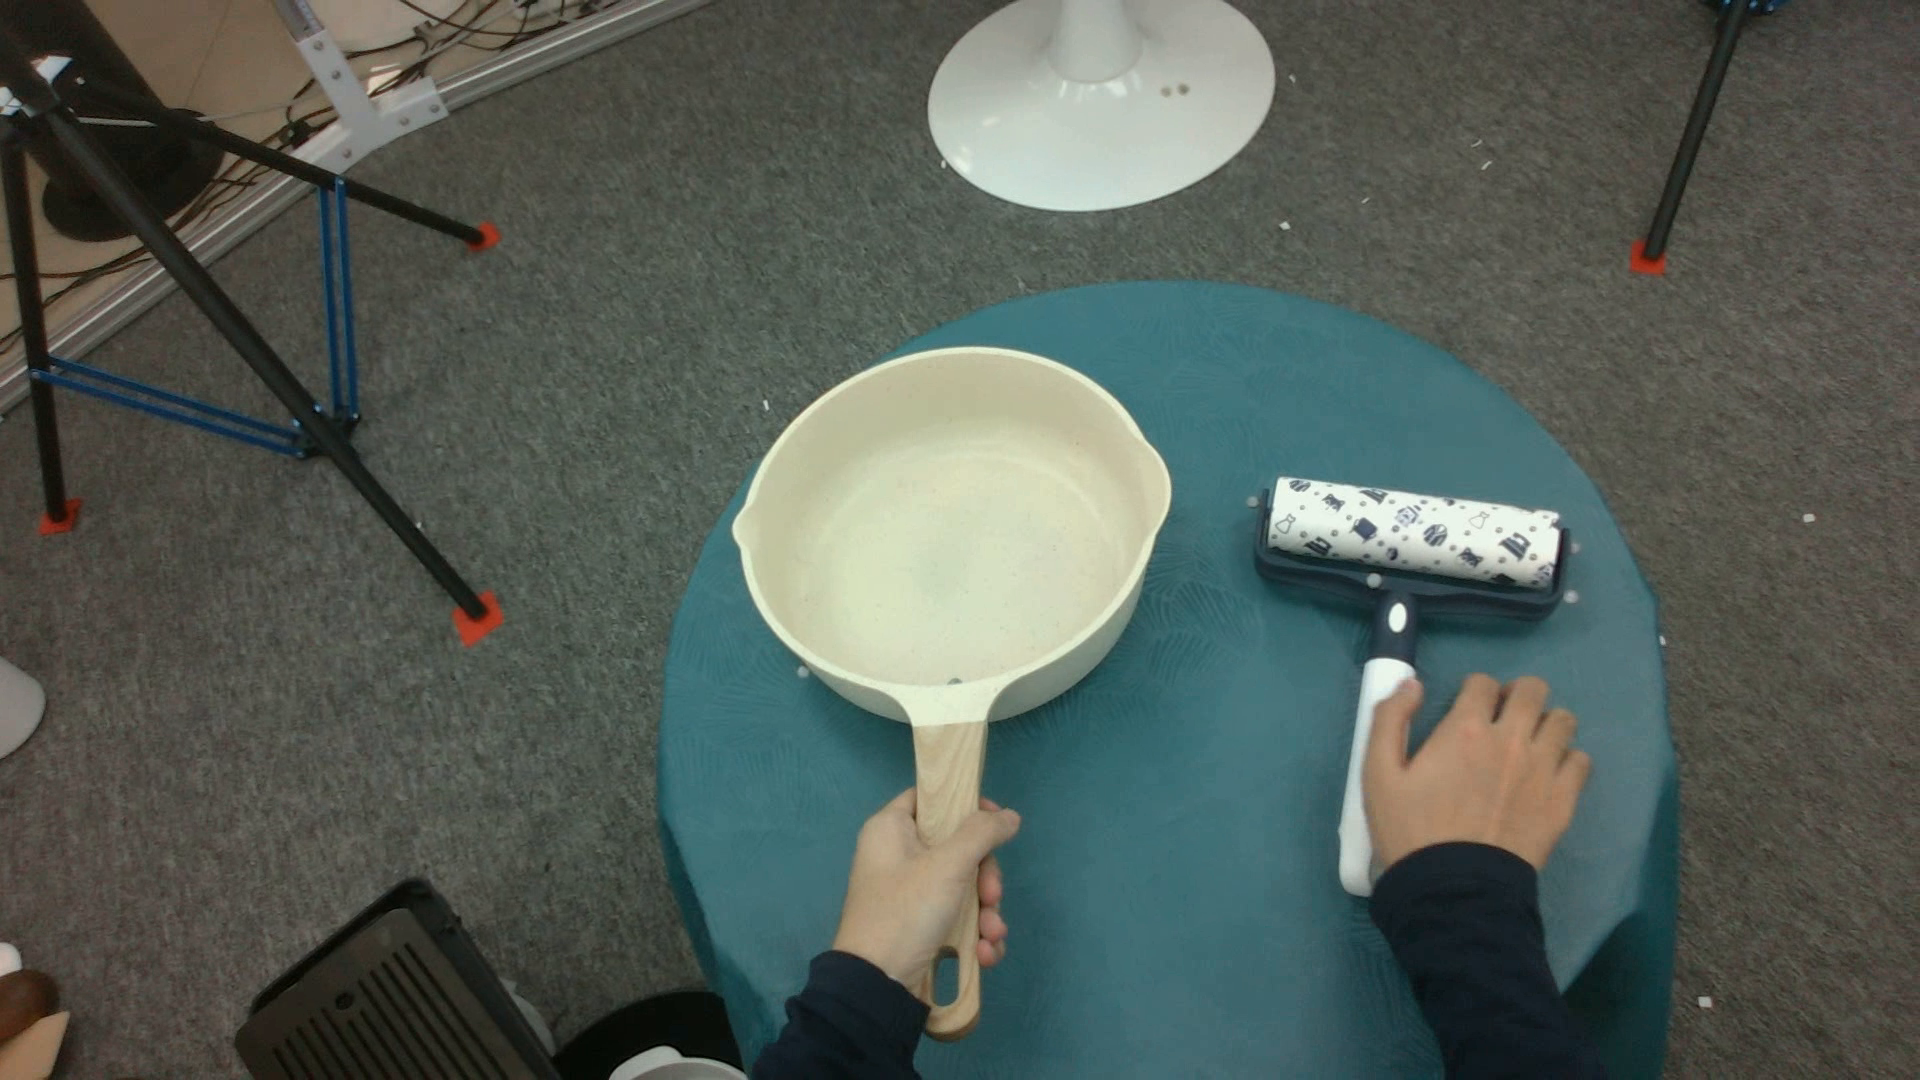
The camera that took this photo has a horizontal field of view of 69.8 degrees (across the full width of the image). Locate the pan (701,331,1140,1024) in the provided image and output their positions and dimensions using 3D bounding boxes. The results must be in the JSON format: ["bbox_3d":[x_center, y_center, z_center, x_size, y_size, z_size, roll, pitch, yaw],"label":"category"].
[{"bbox_3d":[-0.016,0.064,0.785,0.263,0.101,0.436,-7,55,4],"label":"pan"}]

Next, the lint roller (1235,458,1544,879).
[{"bbox_3d":[0.235,0.069,0.783,0.176,0.050,0.248,8,61,13],"label":"lint roller"}]
